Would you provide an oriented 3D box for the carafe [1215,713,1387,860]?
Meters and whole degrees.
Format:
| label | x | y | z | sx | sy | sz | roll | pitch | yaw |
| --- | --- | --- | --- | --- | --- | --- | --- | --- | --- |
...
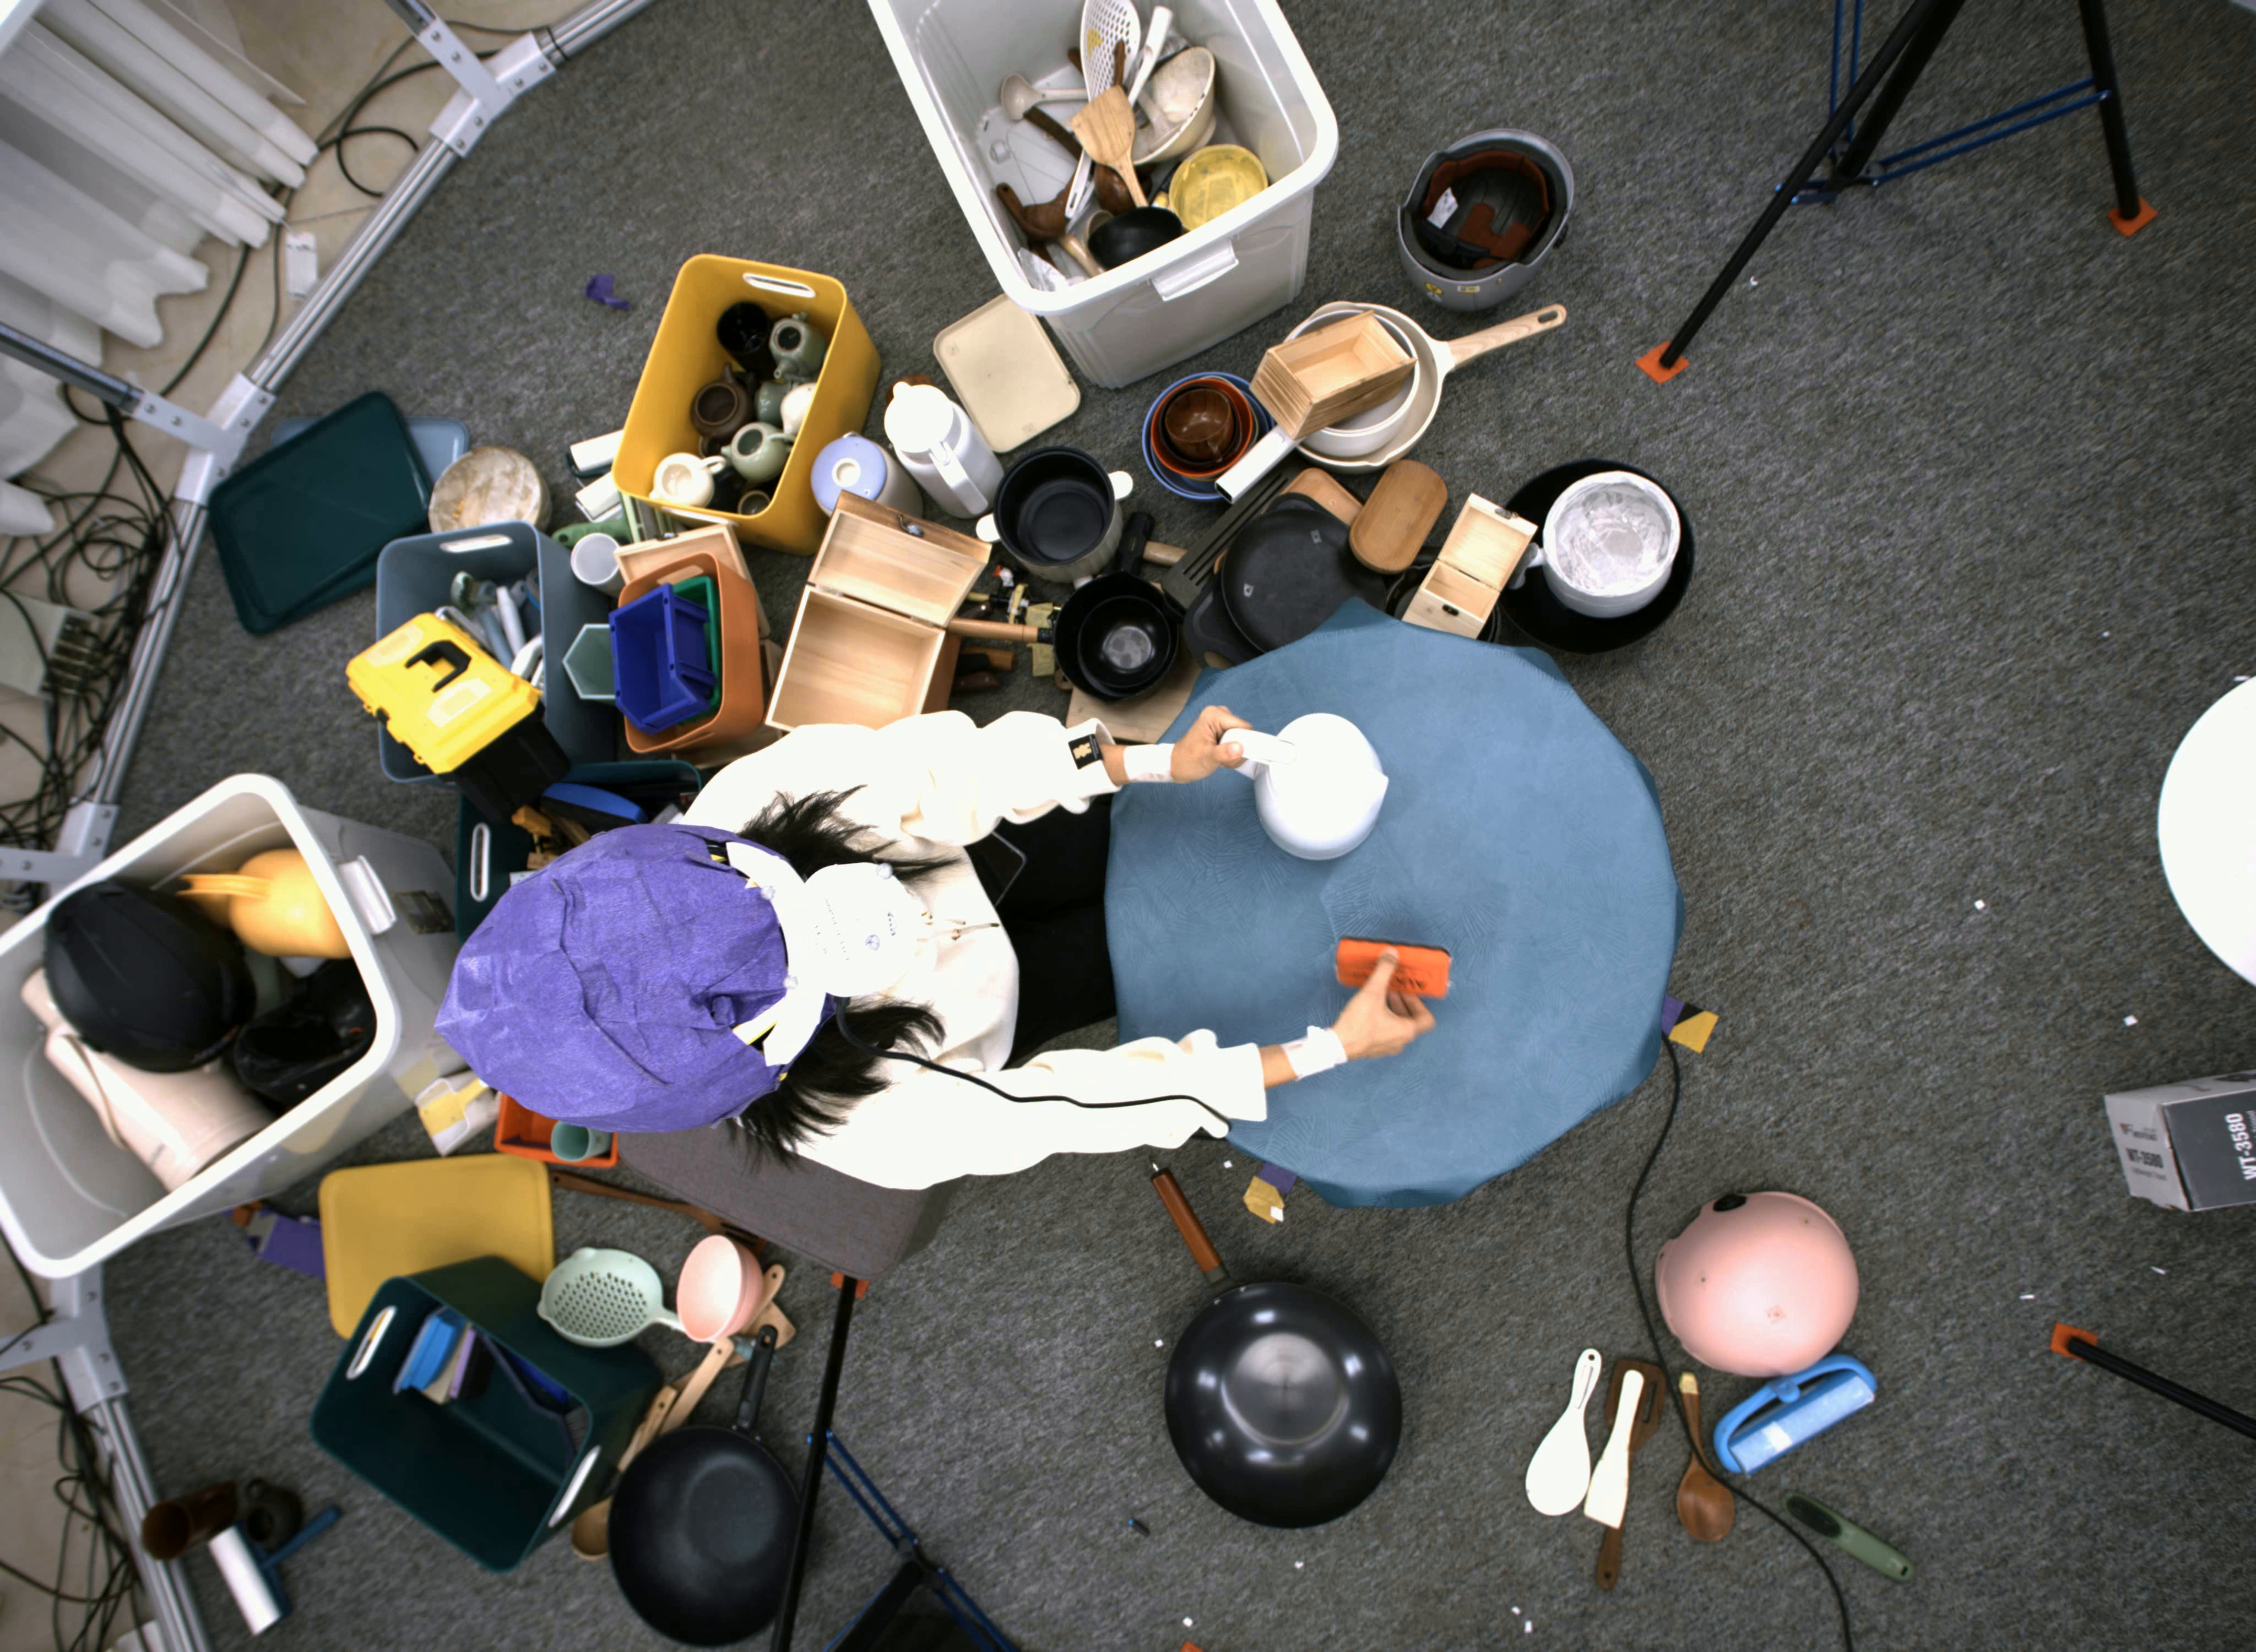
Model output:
| label | x | y | z | sx | sy | sz | roll | pitch | yaw |
| --- | --- | --- | --- | --- | --- | --- | --- | --- | --- |
| carafe | 0.169 | -0.049 | 1.357 | 0.168 | 0.249 | 0.132 | 19 | 87 | 10 |

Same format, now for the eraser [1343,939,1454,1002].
| label | x | y | z | sx | sy | sz | roll | pitch | yaw |
| --- | --- | --- | --- | --- | --- | --- | --- | --- | --- |
| eraser | 0.271 | 0.144 | 1.386 | 0.108 | 0.060 | 0.022 | 6 | 46 | 16 |
